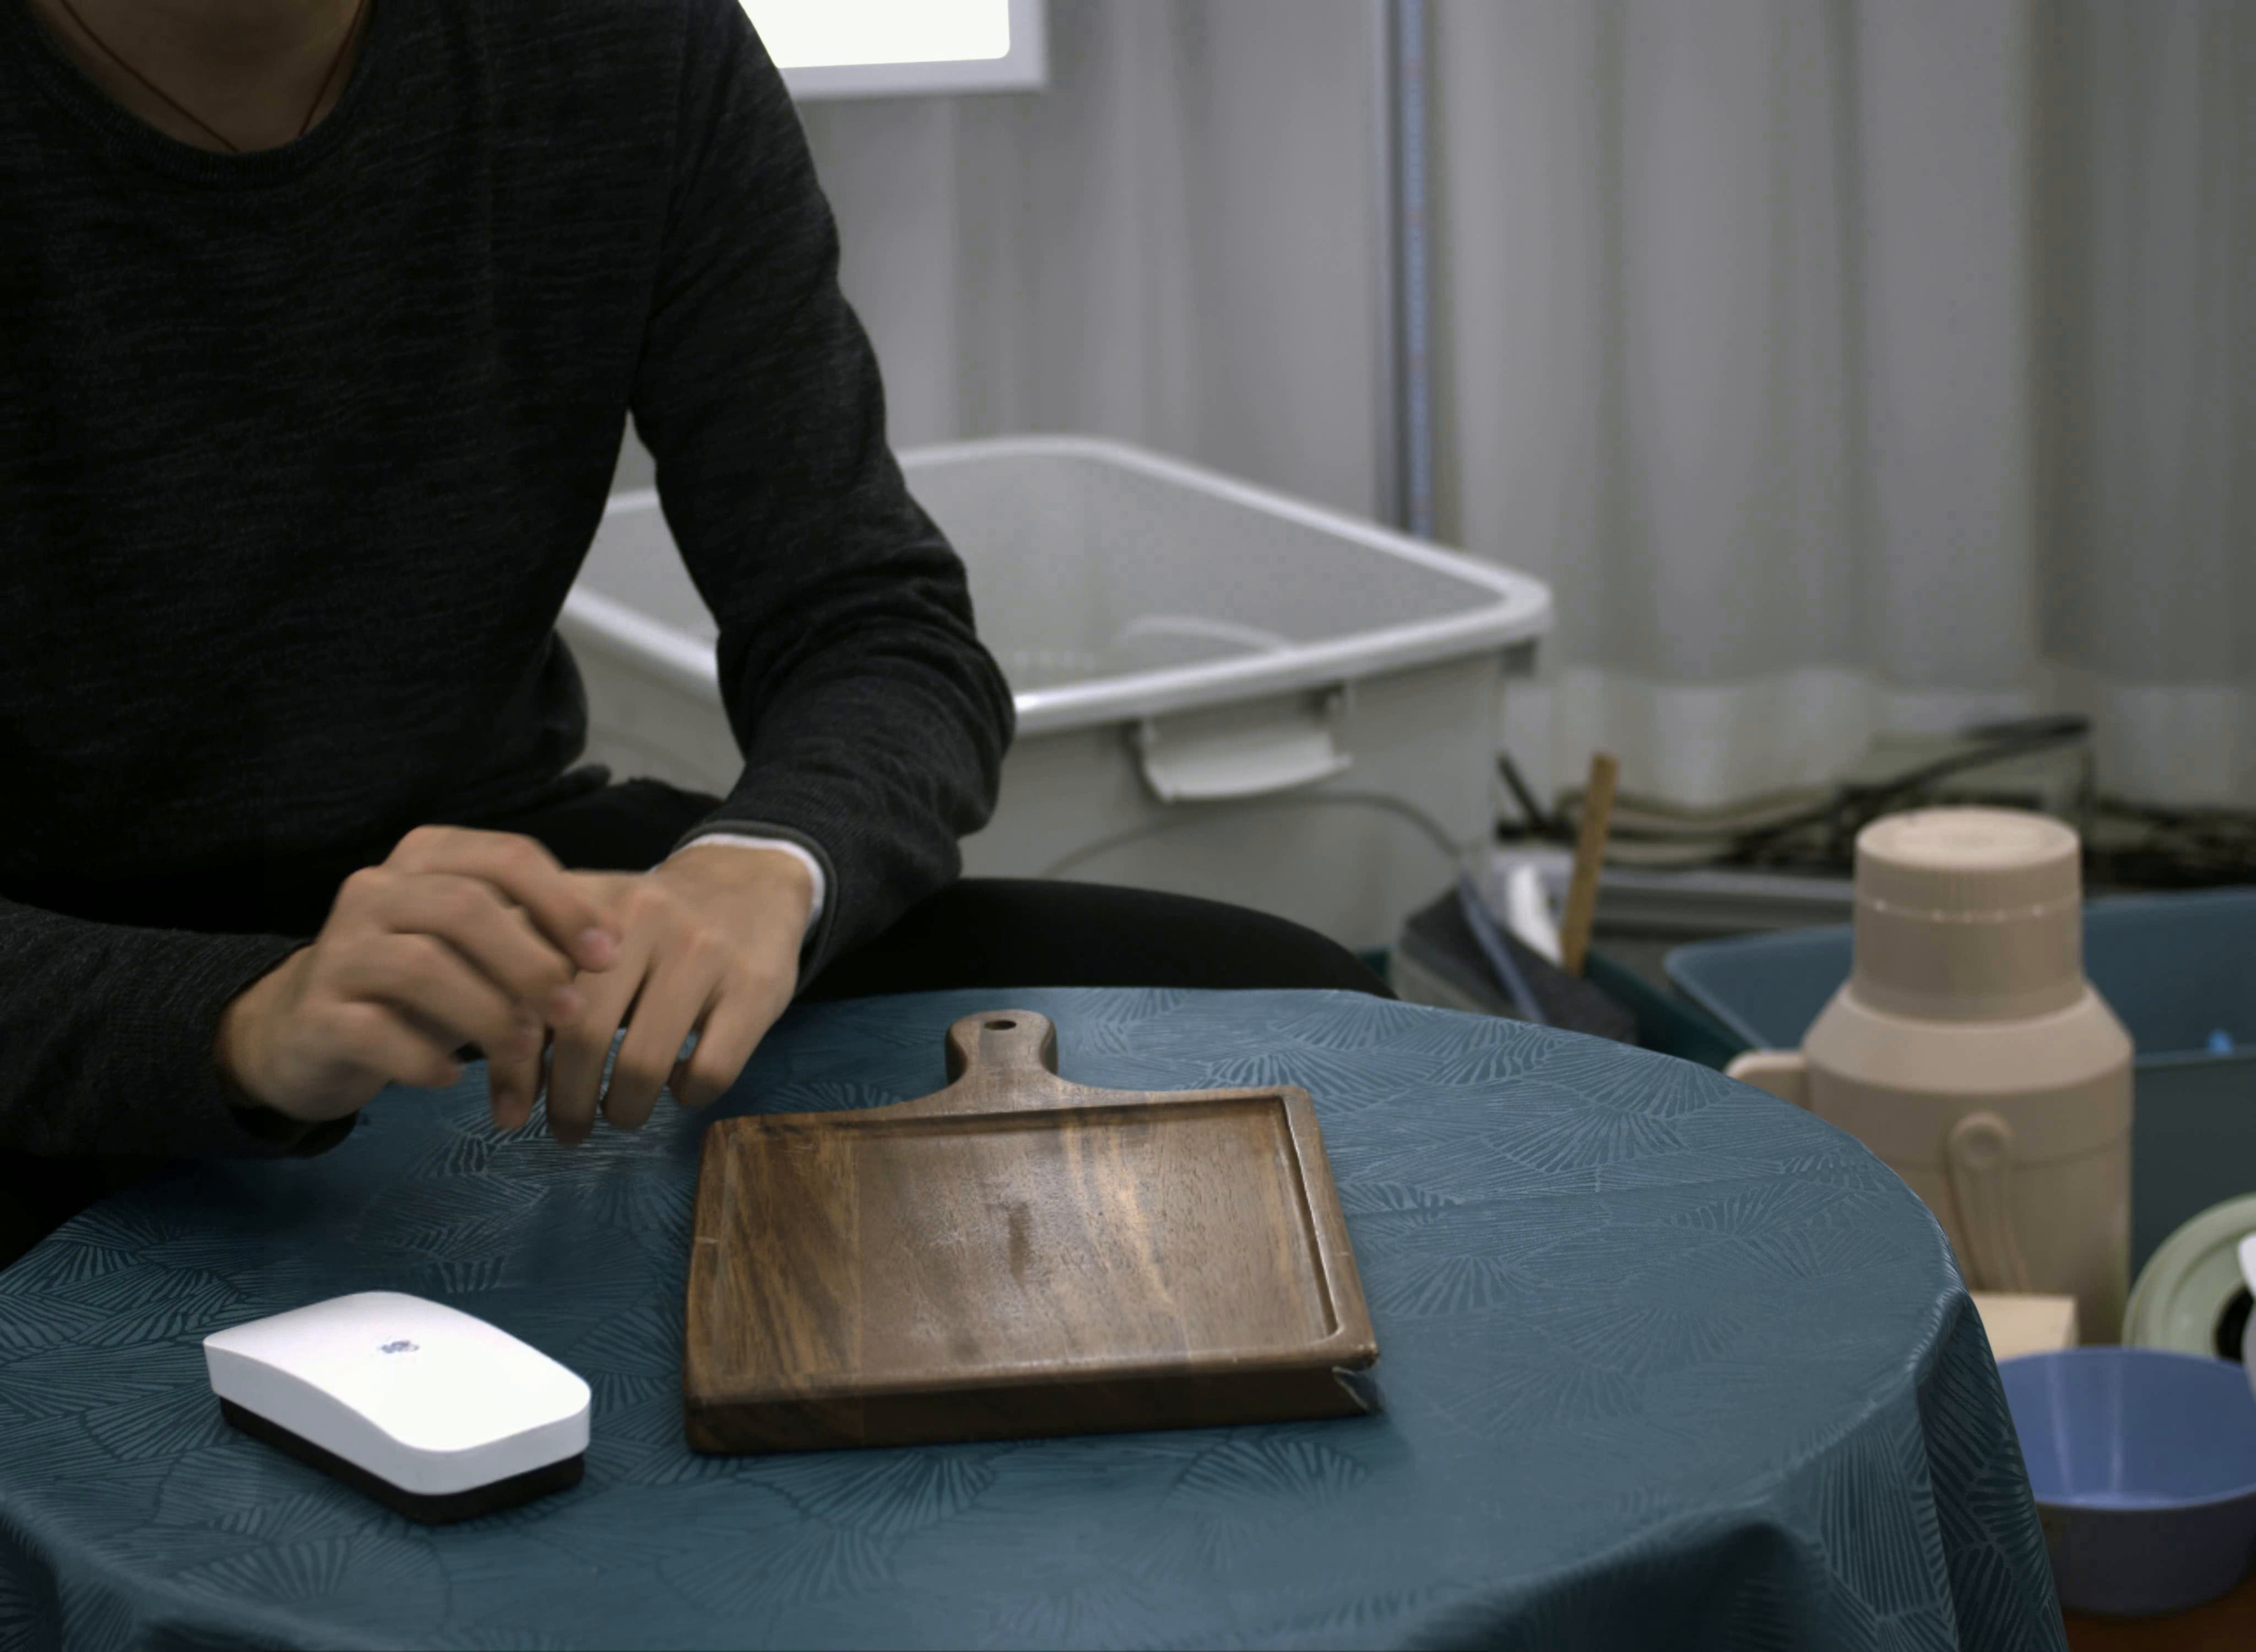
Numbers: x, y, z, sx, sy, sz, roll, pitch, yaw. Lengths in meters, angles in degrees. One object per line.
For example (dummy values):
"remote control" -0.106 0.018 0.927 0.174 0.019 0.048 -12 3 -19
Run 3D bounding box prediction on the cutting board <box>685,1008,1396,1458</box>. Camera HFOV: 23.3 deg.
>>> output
"cutting board" -0.035 0.116 1.676 0.200 0.023 0.354 -3 15 -2

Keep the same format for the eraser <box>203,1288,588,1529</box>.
"eraser" -0.204 0.159 1.528 0.063 0.034 0.132 -15 20 -34
